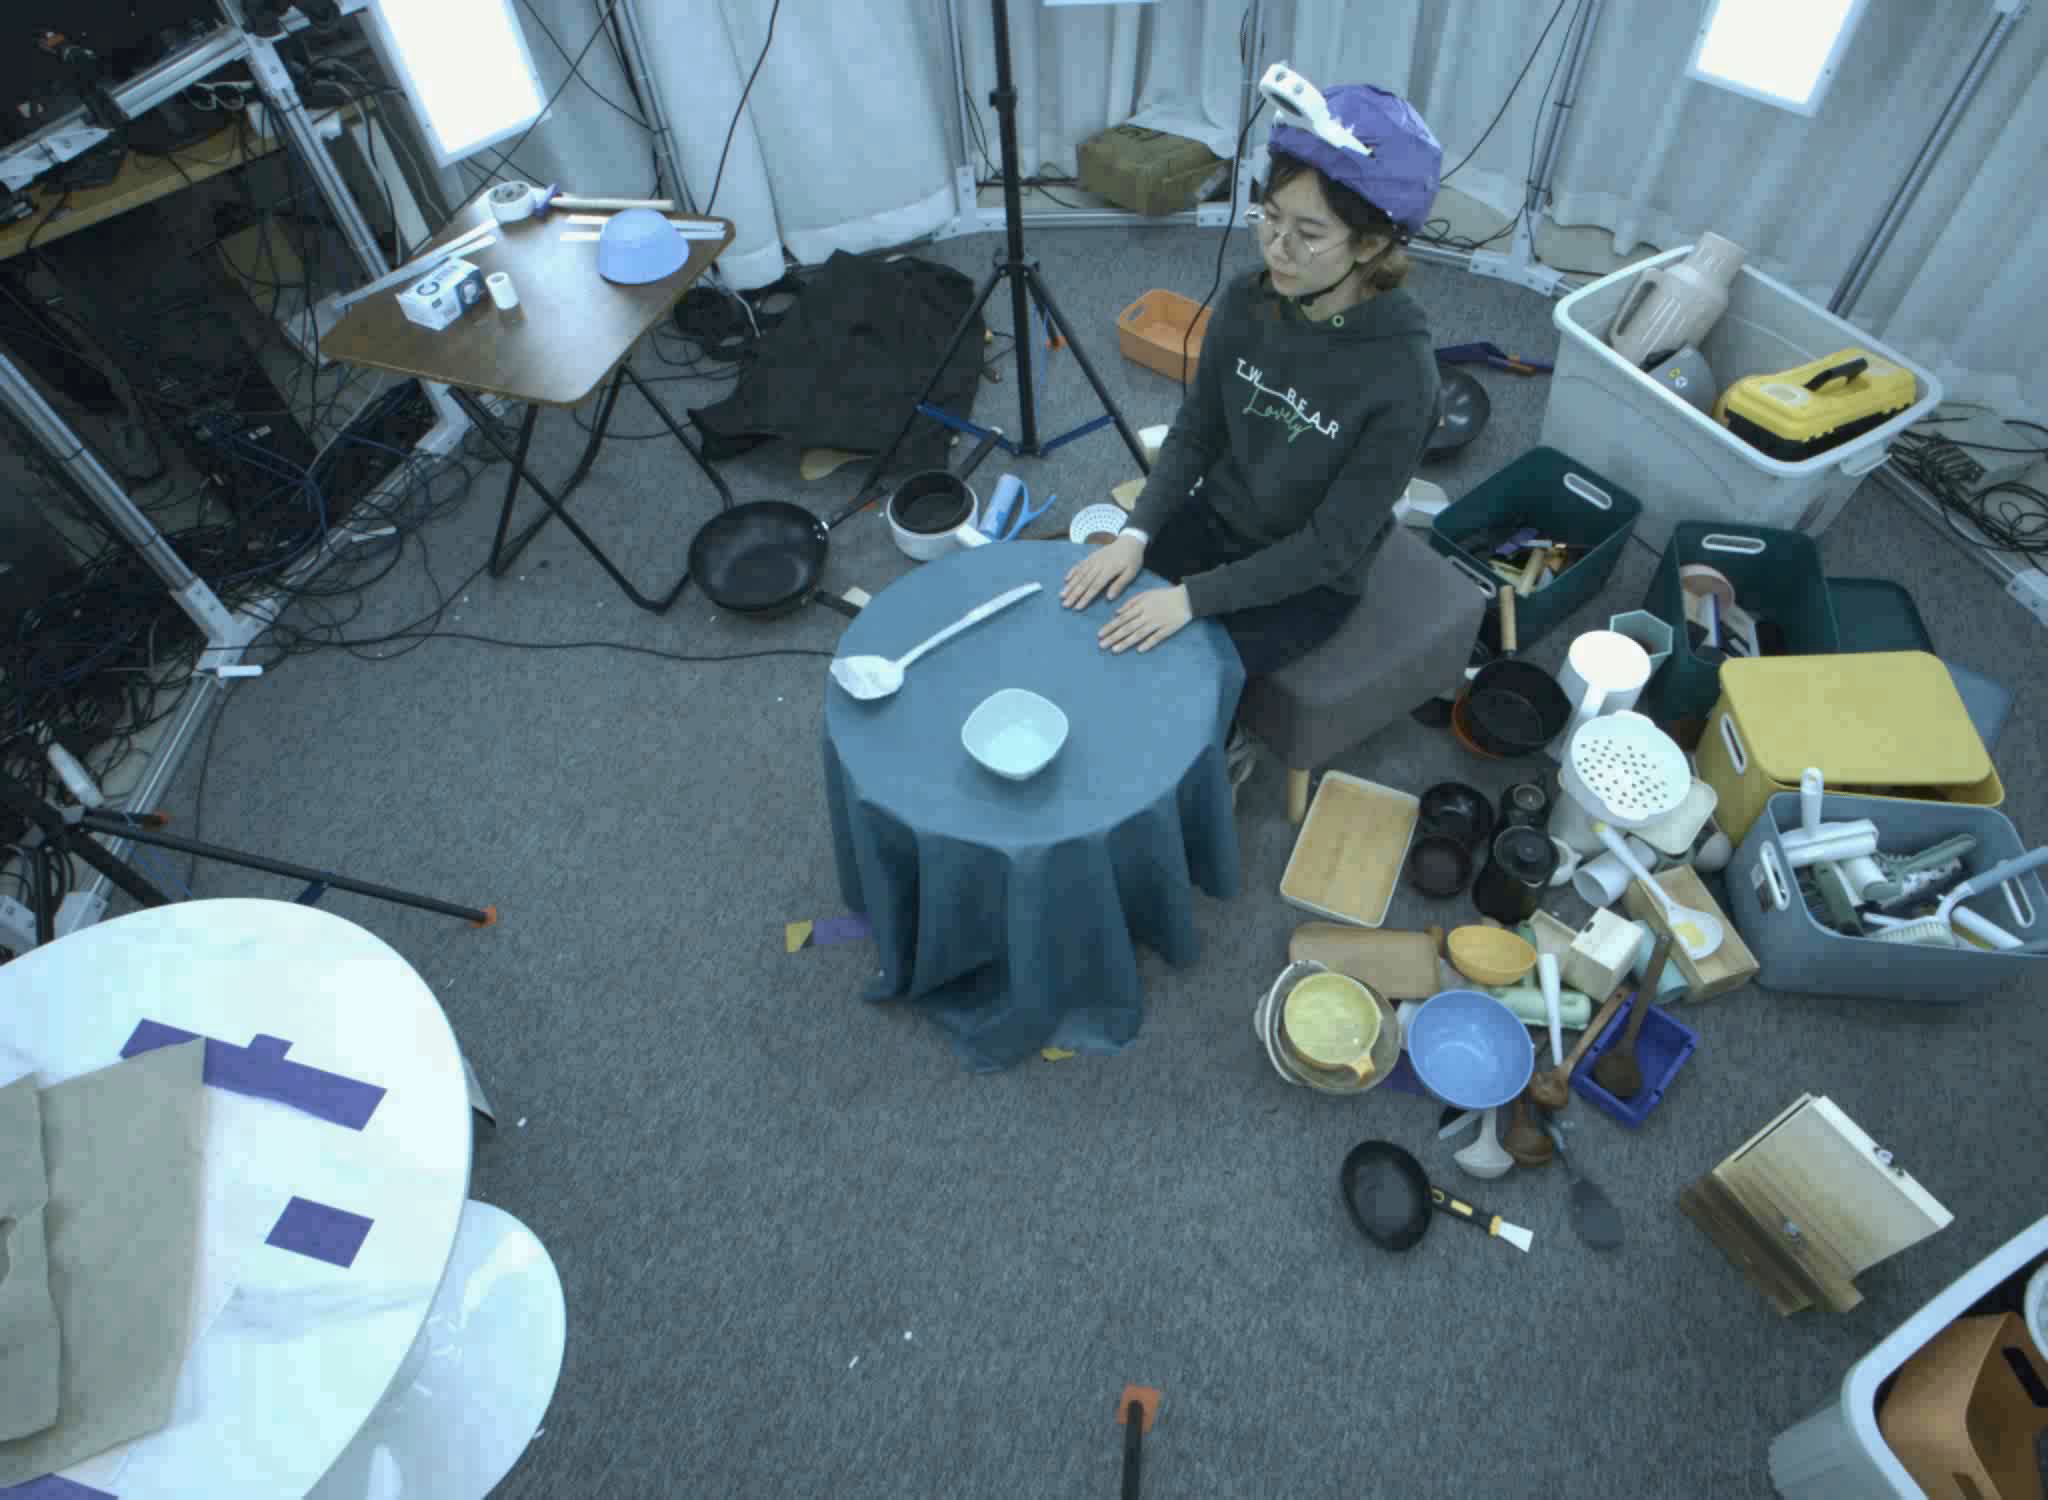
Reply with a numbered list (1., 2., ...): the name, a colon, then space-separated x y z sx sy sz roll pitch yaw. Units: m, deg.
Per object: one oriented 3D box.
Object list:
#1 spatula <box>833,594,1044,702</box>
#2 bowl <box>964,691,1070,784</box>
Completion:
1. spatula: -0.124 -0.172 1.899 0.368 0.045 0.097 -31 58 -19
2. bowl: -0.009 -0.007 1.770 0.151 0.059 0.150 1 57 0
